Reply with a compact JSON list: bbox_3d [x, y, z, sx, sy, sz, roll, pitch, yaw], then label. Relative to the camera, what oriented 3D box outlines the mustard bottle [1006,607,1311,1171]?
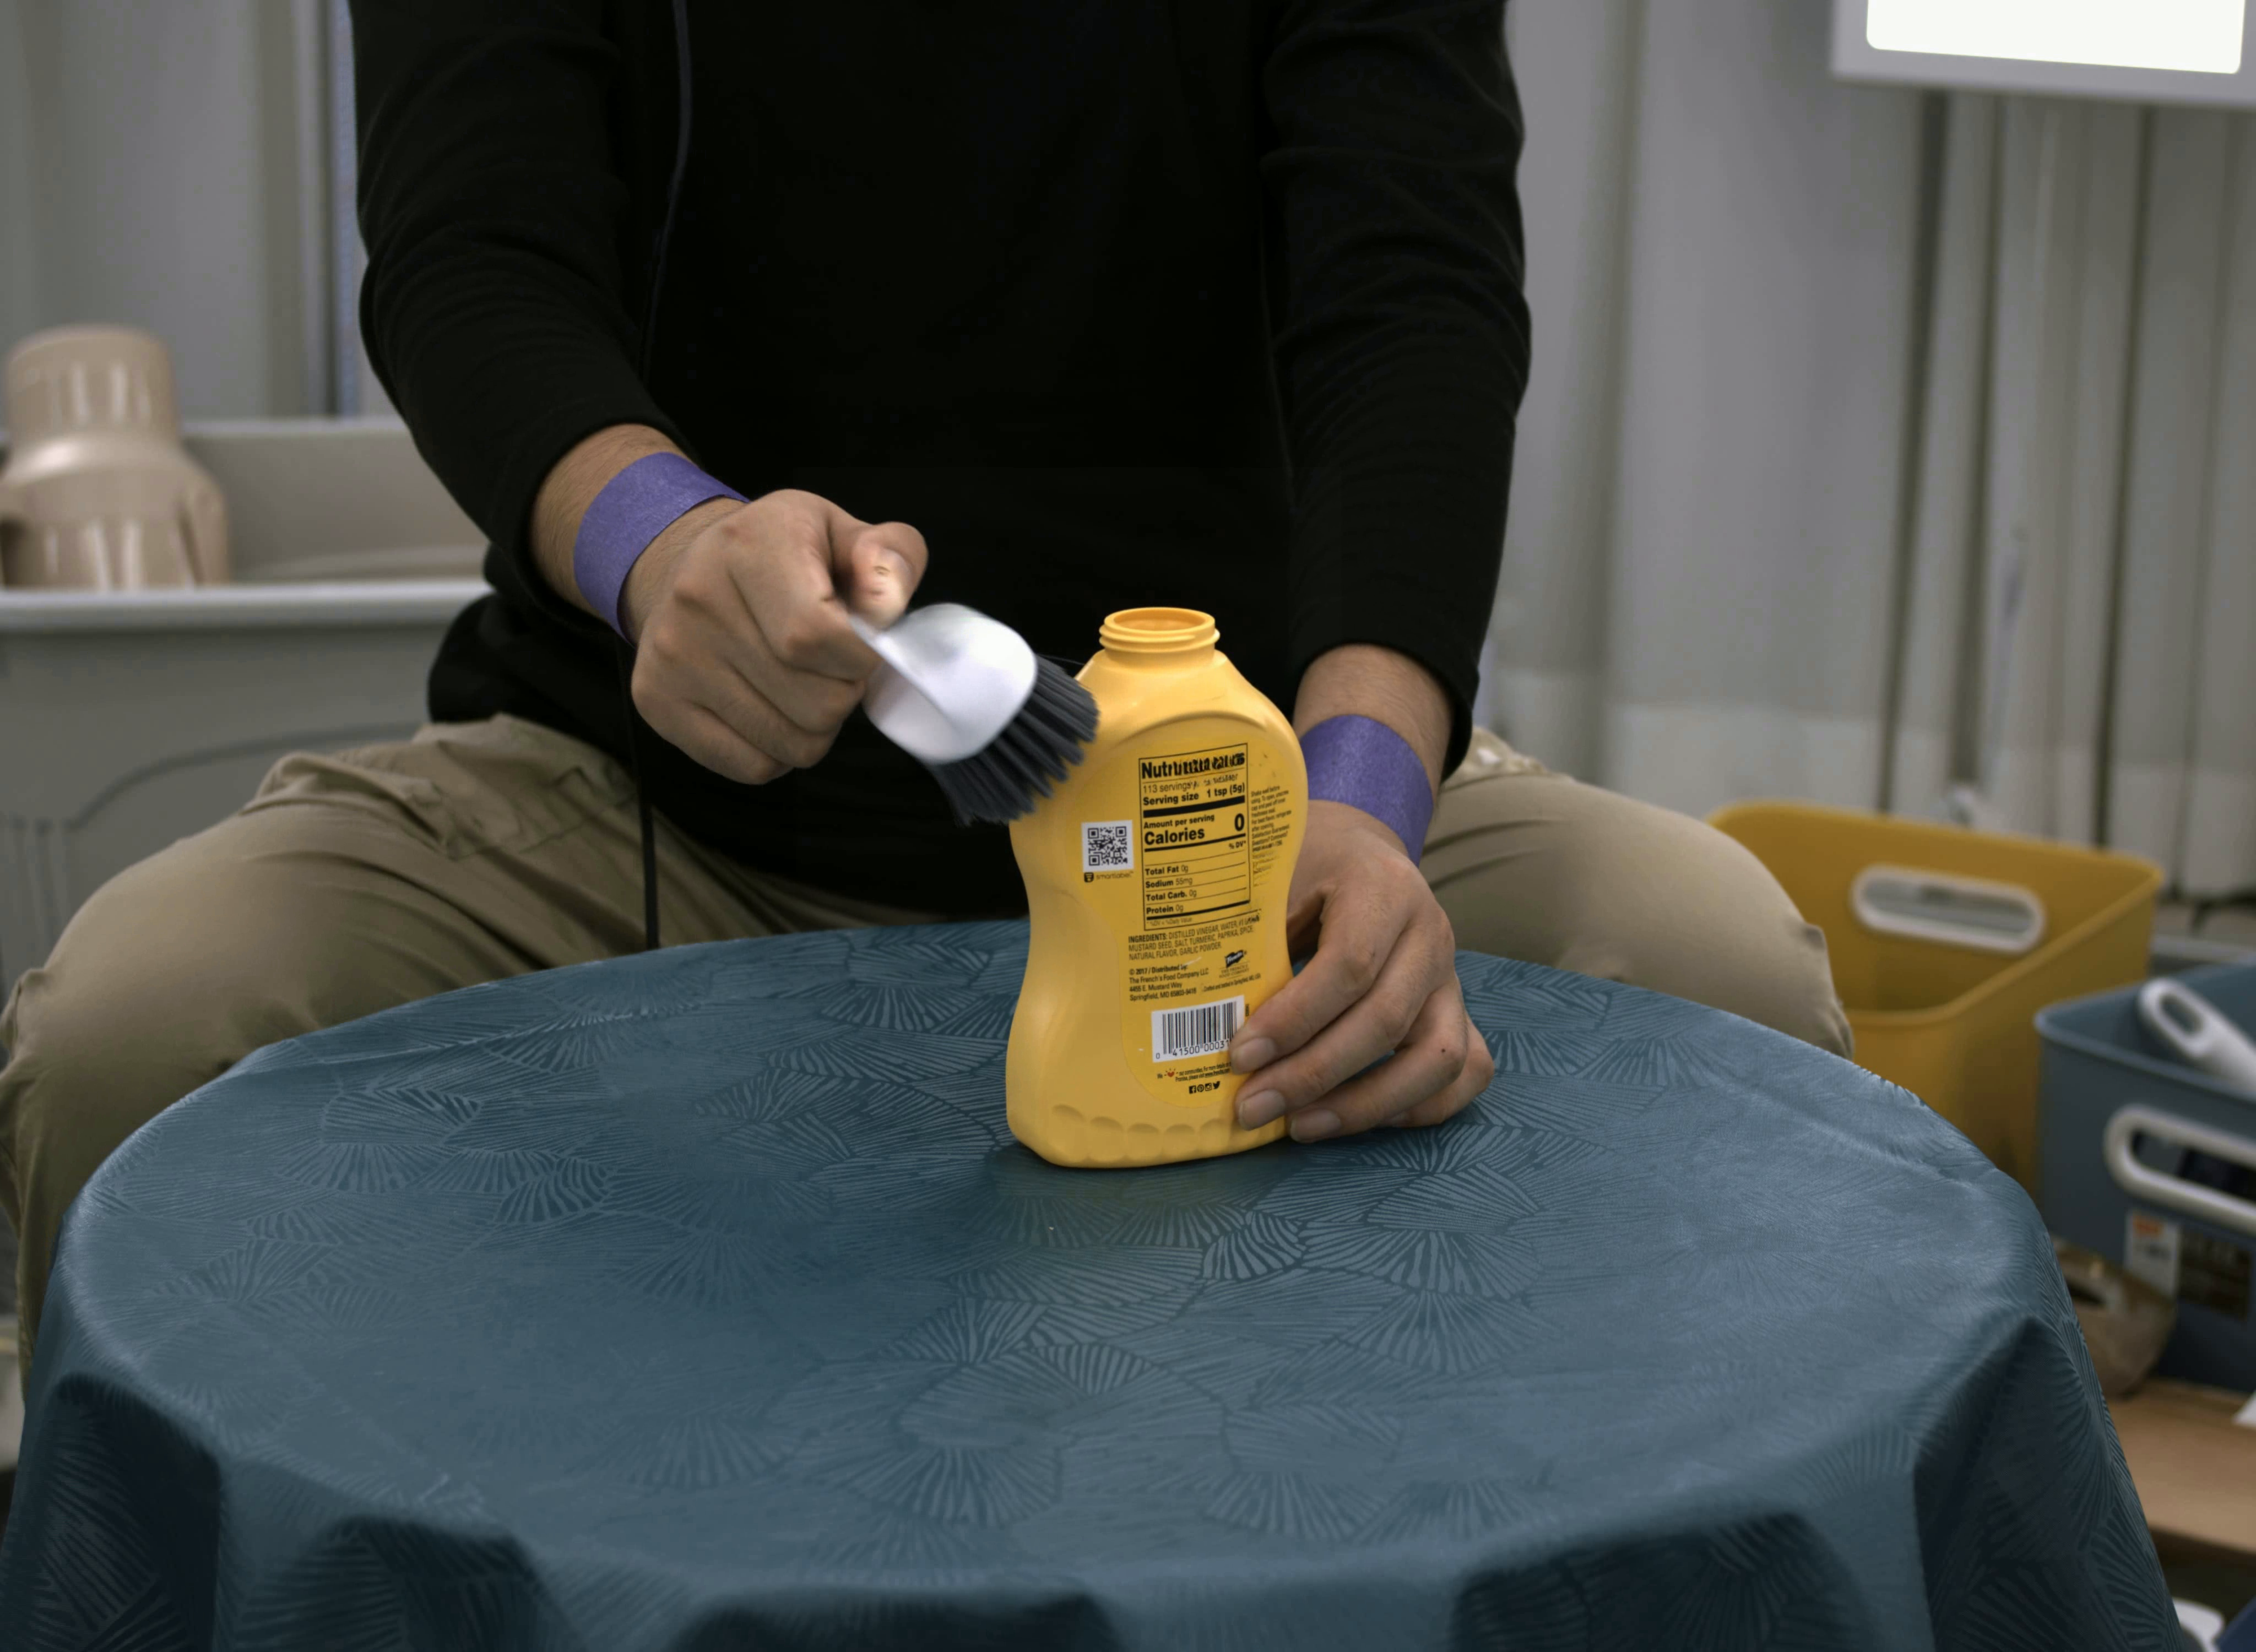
[{"bbox_3d":[0.008,0.018,1.644,0.098,0.173,0.058,-9,16,-25],"label":"mustard bottle"}]

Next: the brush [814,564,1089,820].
[{"bbox_3d":[-0.061,-0.049,1.582,0.073,0.050,0.098,41,0,-24],"label":"brush"}]
